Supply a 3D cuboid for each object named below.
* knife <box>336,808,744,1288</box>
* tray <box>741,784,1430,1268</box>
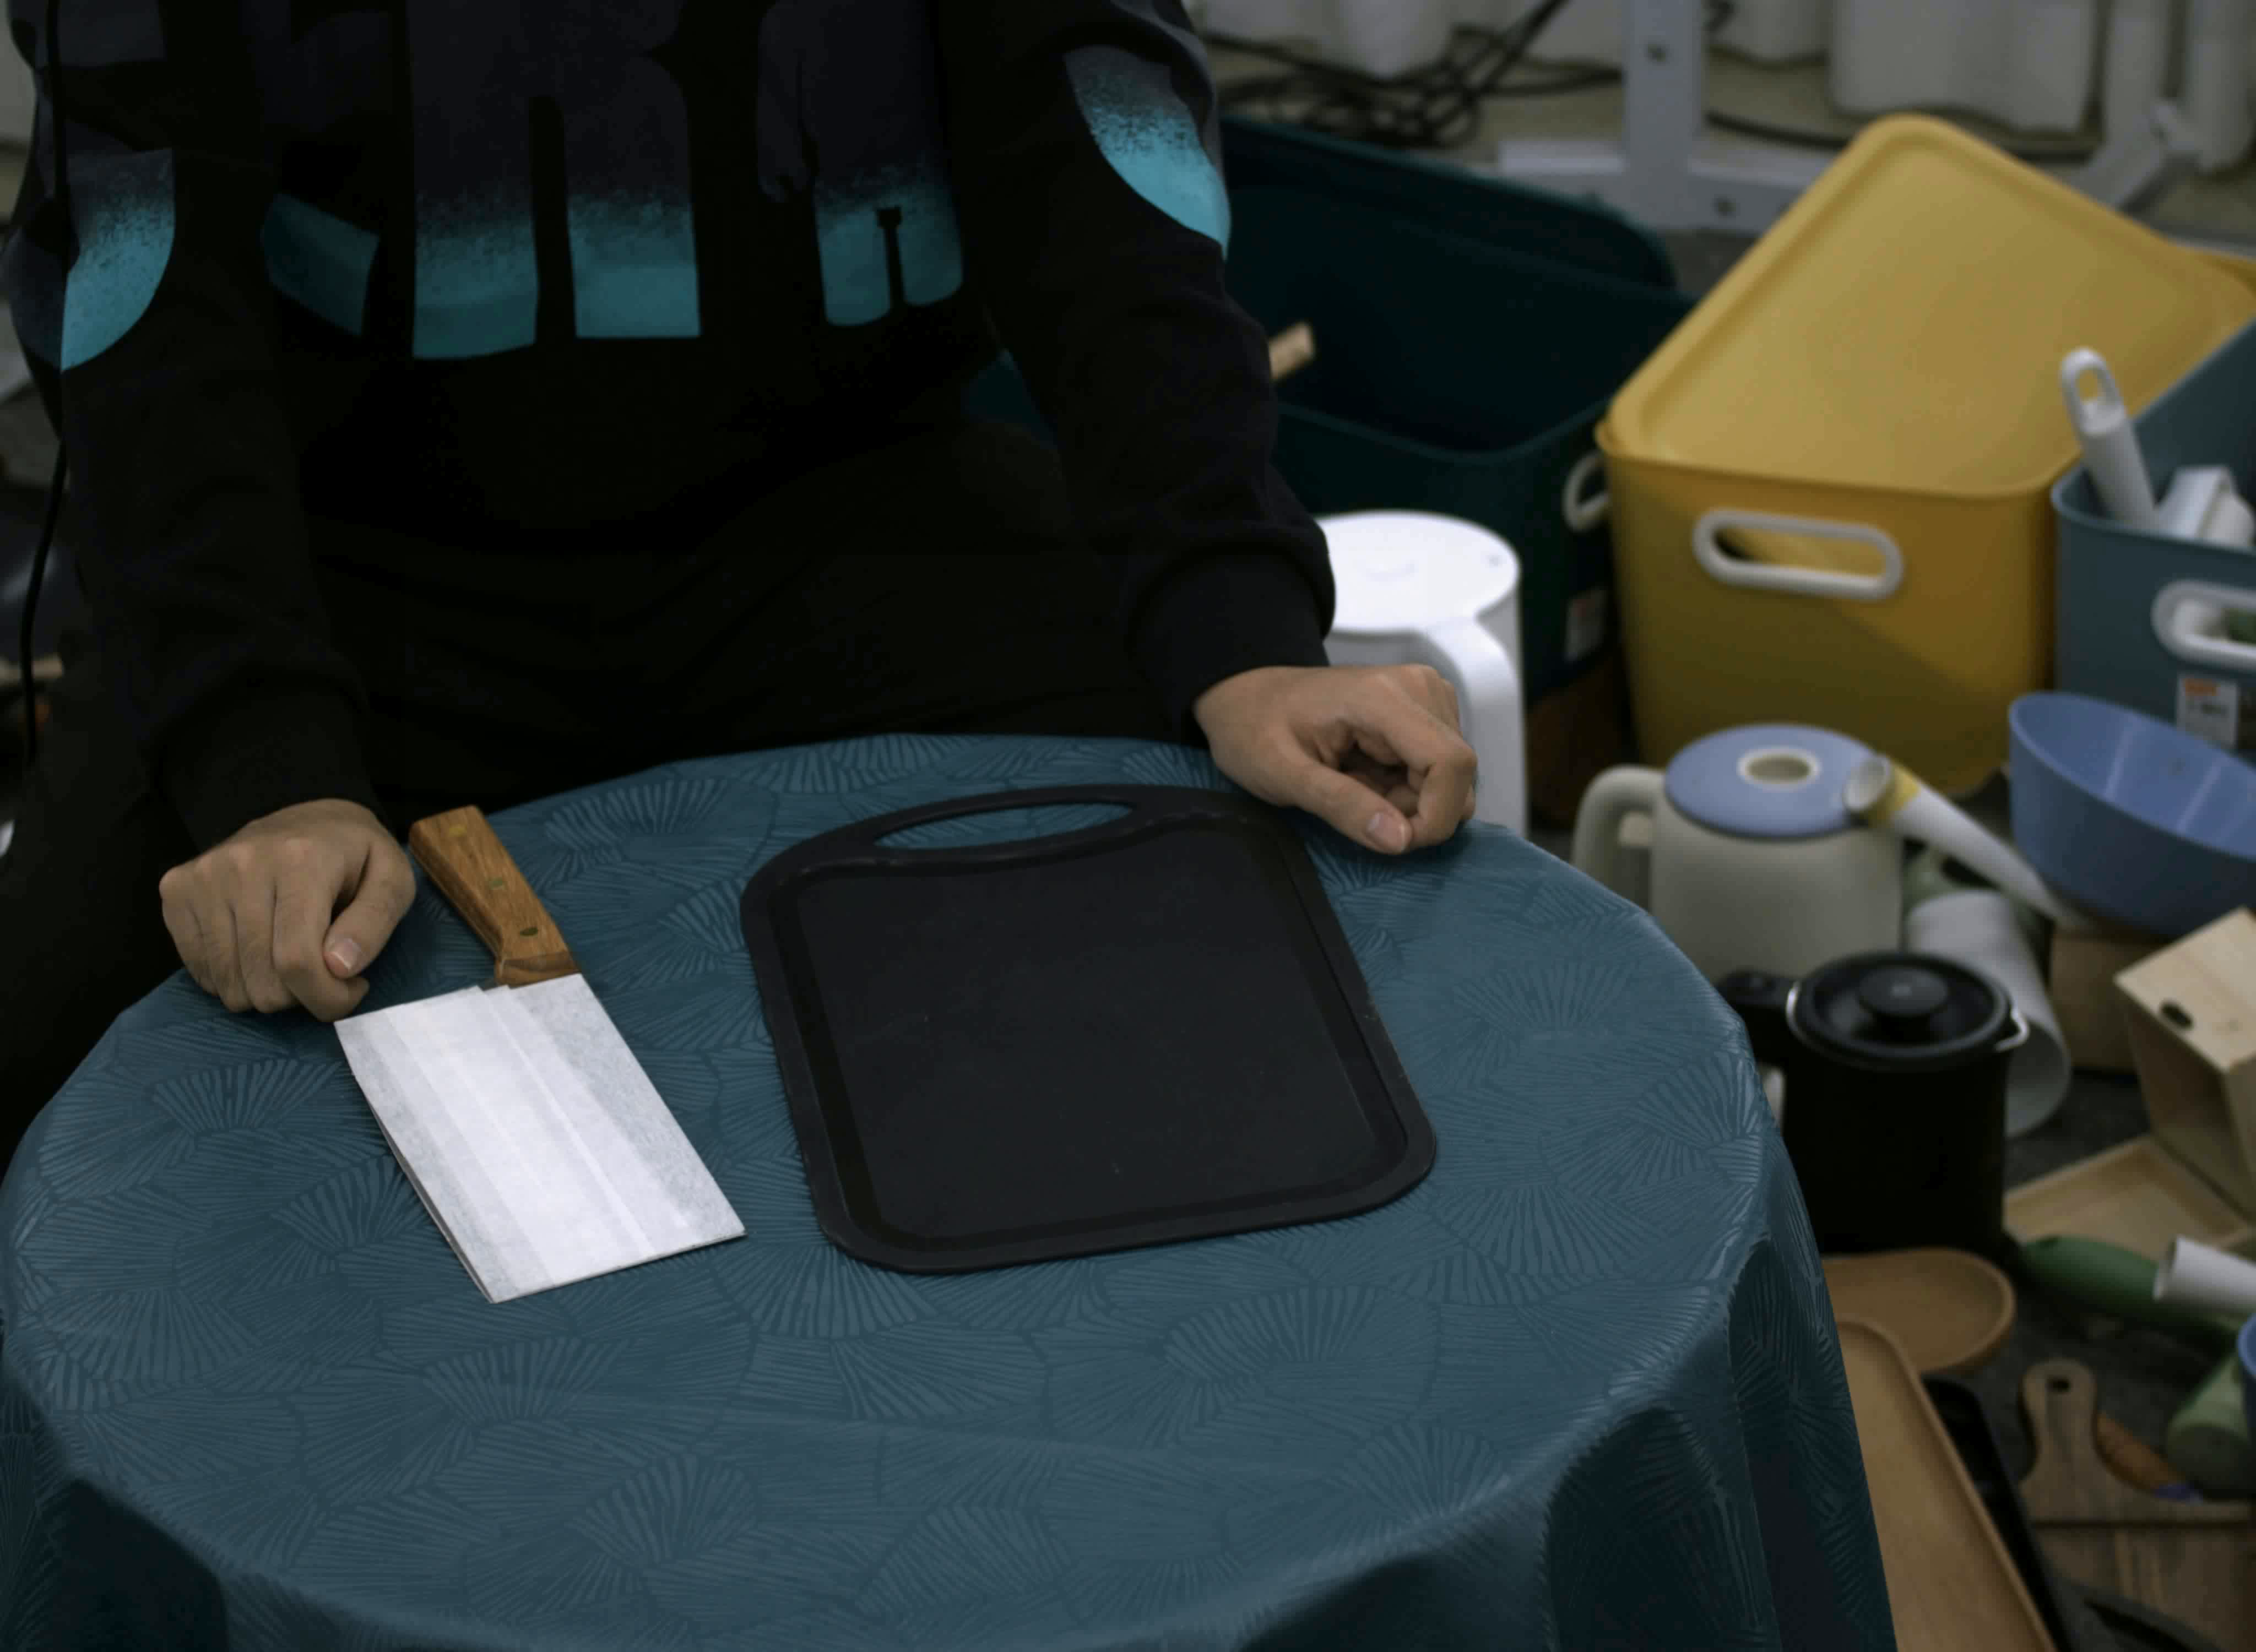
[{"bbox_3d":[-0.223,0.076,1.955,0.093,0.021,0.308,-14,32,-18],"label":"knife"},{"bbox_3d":[-0.022,0.061,1.973,0.211,0.009,0.329,-7,28,-8],"label":"tray"}]
